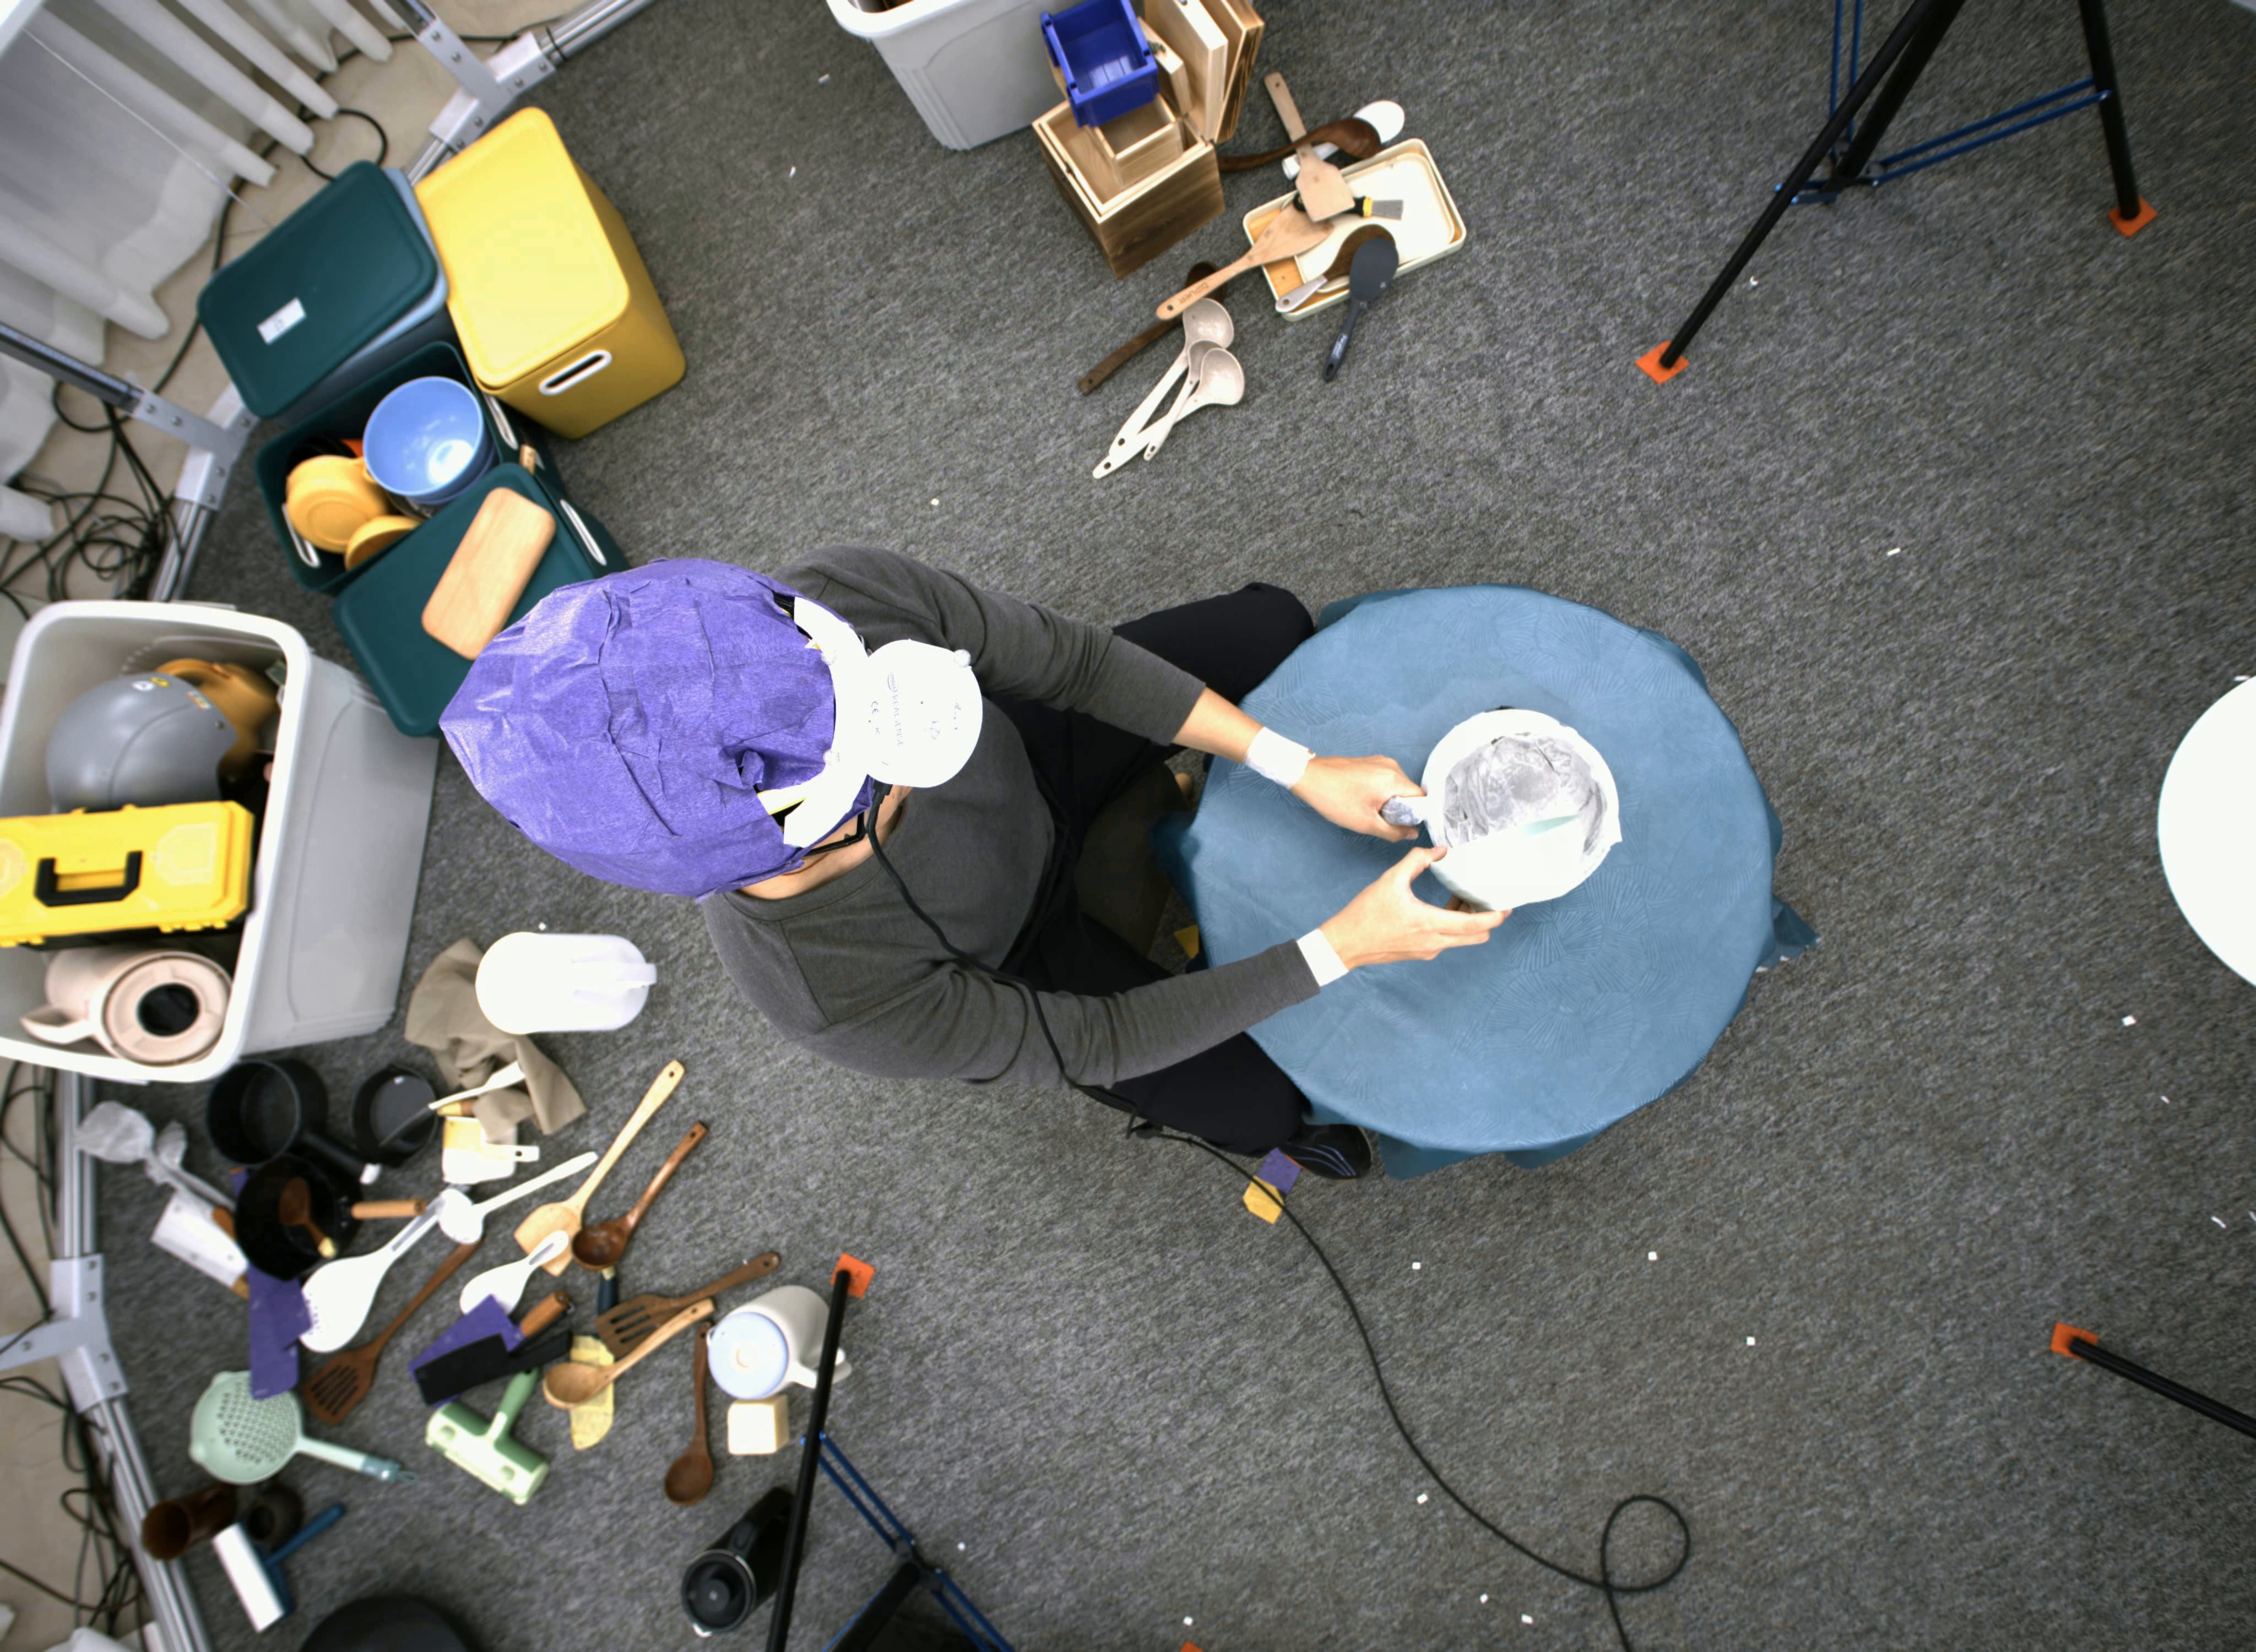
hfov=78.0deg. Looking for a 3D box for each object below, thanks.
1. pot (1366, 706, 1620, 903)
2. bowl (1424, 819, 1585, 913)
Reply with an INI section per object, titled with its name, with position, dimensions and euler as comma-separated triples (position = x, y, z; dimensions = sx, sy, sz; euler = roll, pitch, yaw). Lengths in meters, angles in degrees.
[pot]
position = 0.356, -0.025, 1.364
dimensions = 0.234, 0.135, 0.180
euler = -3, 102, 9
[bowl]
position = 0.352, 0.038, 1.261
dimensions = 0.152, 0.150, 0.058
euler = -17, 91, 8
